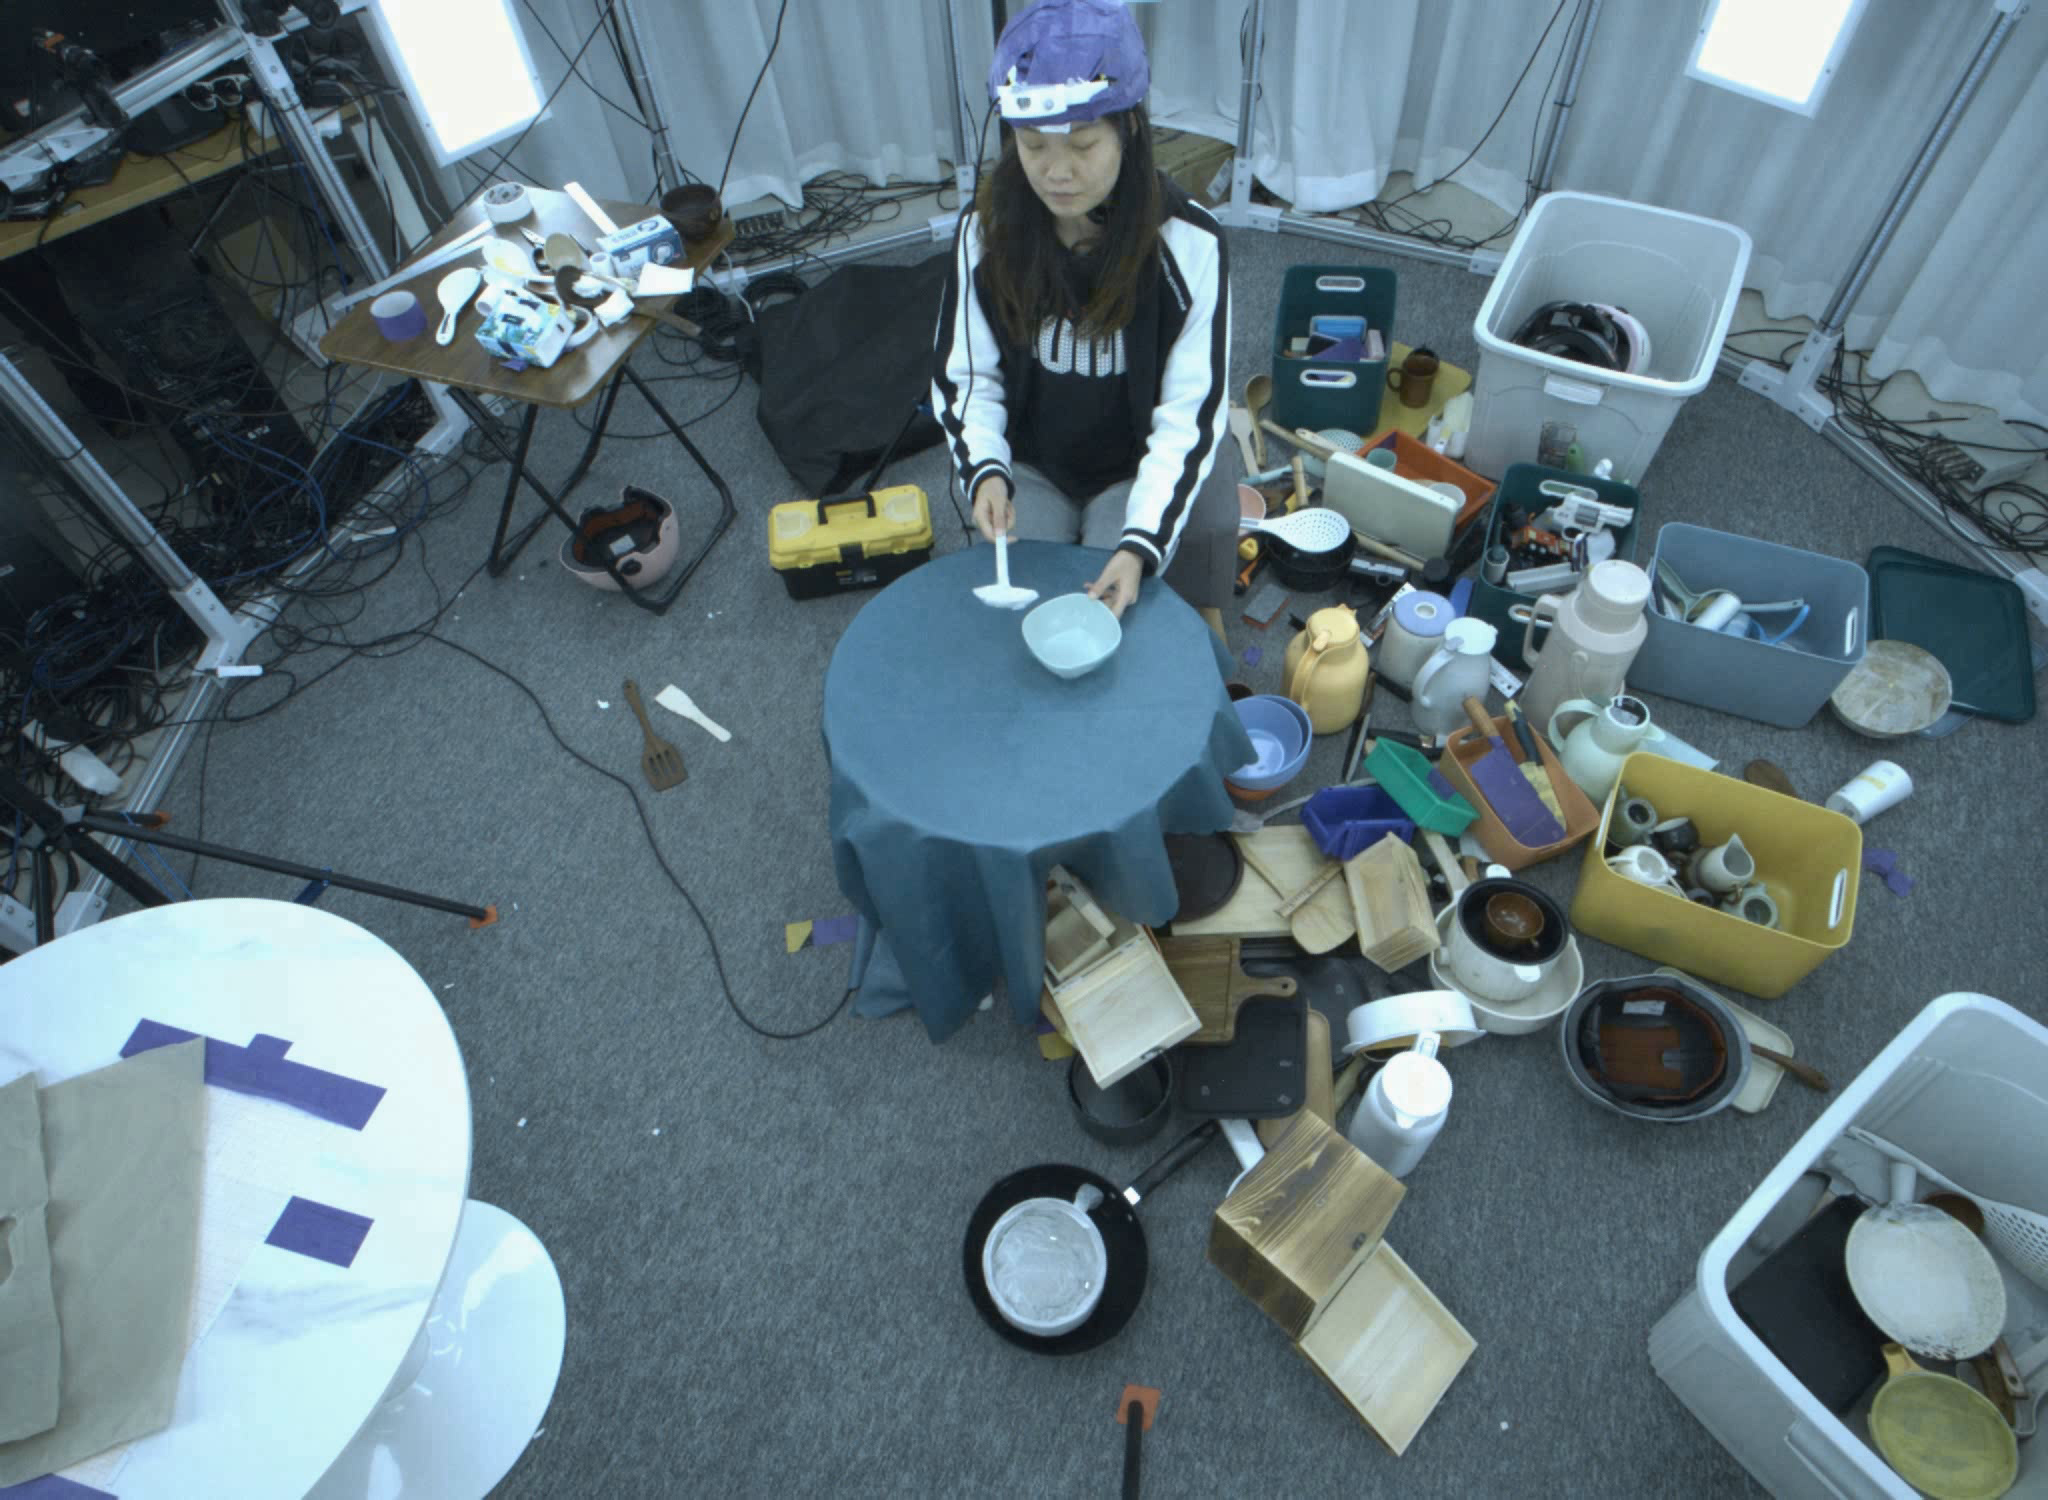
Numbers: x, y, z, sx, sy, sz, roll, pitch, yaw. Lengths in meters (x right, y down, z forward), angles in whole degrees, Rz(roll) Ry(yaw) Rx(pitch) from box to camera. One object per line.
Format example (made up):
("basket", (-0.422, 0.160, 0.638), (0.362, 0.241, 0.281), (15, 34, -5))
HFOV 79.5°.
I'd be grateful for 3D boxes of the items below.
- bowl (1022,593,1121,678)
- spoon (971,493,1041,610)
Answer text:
("bowl", (0.072, -0.164, 1.869), (0.151, 0.059, 0.150), (0, 55, 2))
("spoon", (-0.025, -0.305, 1.827), (0.101, 0.059, 0.274), (6, 55, -8))
